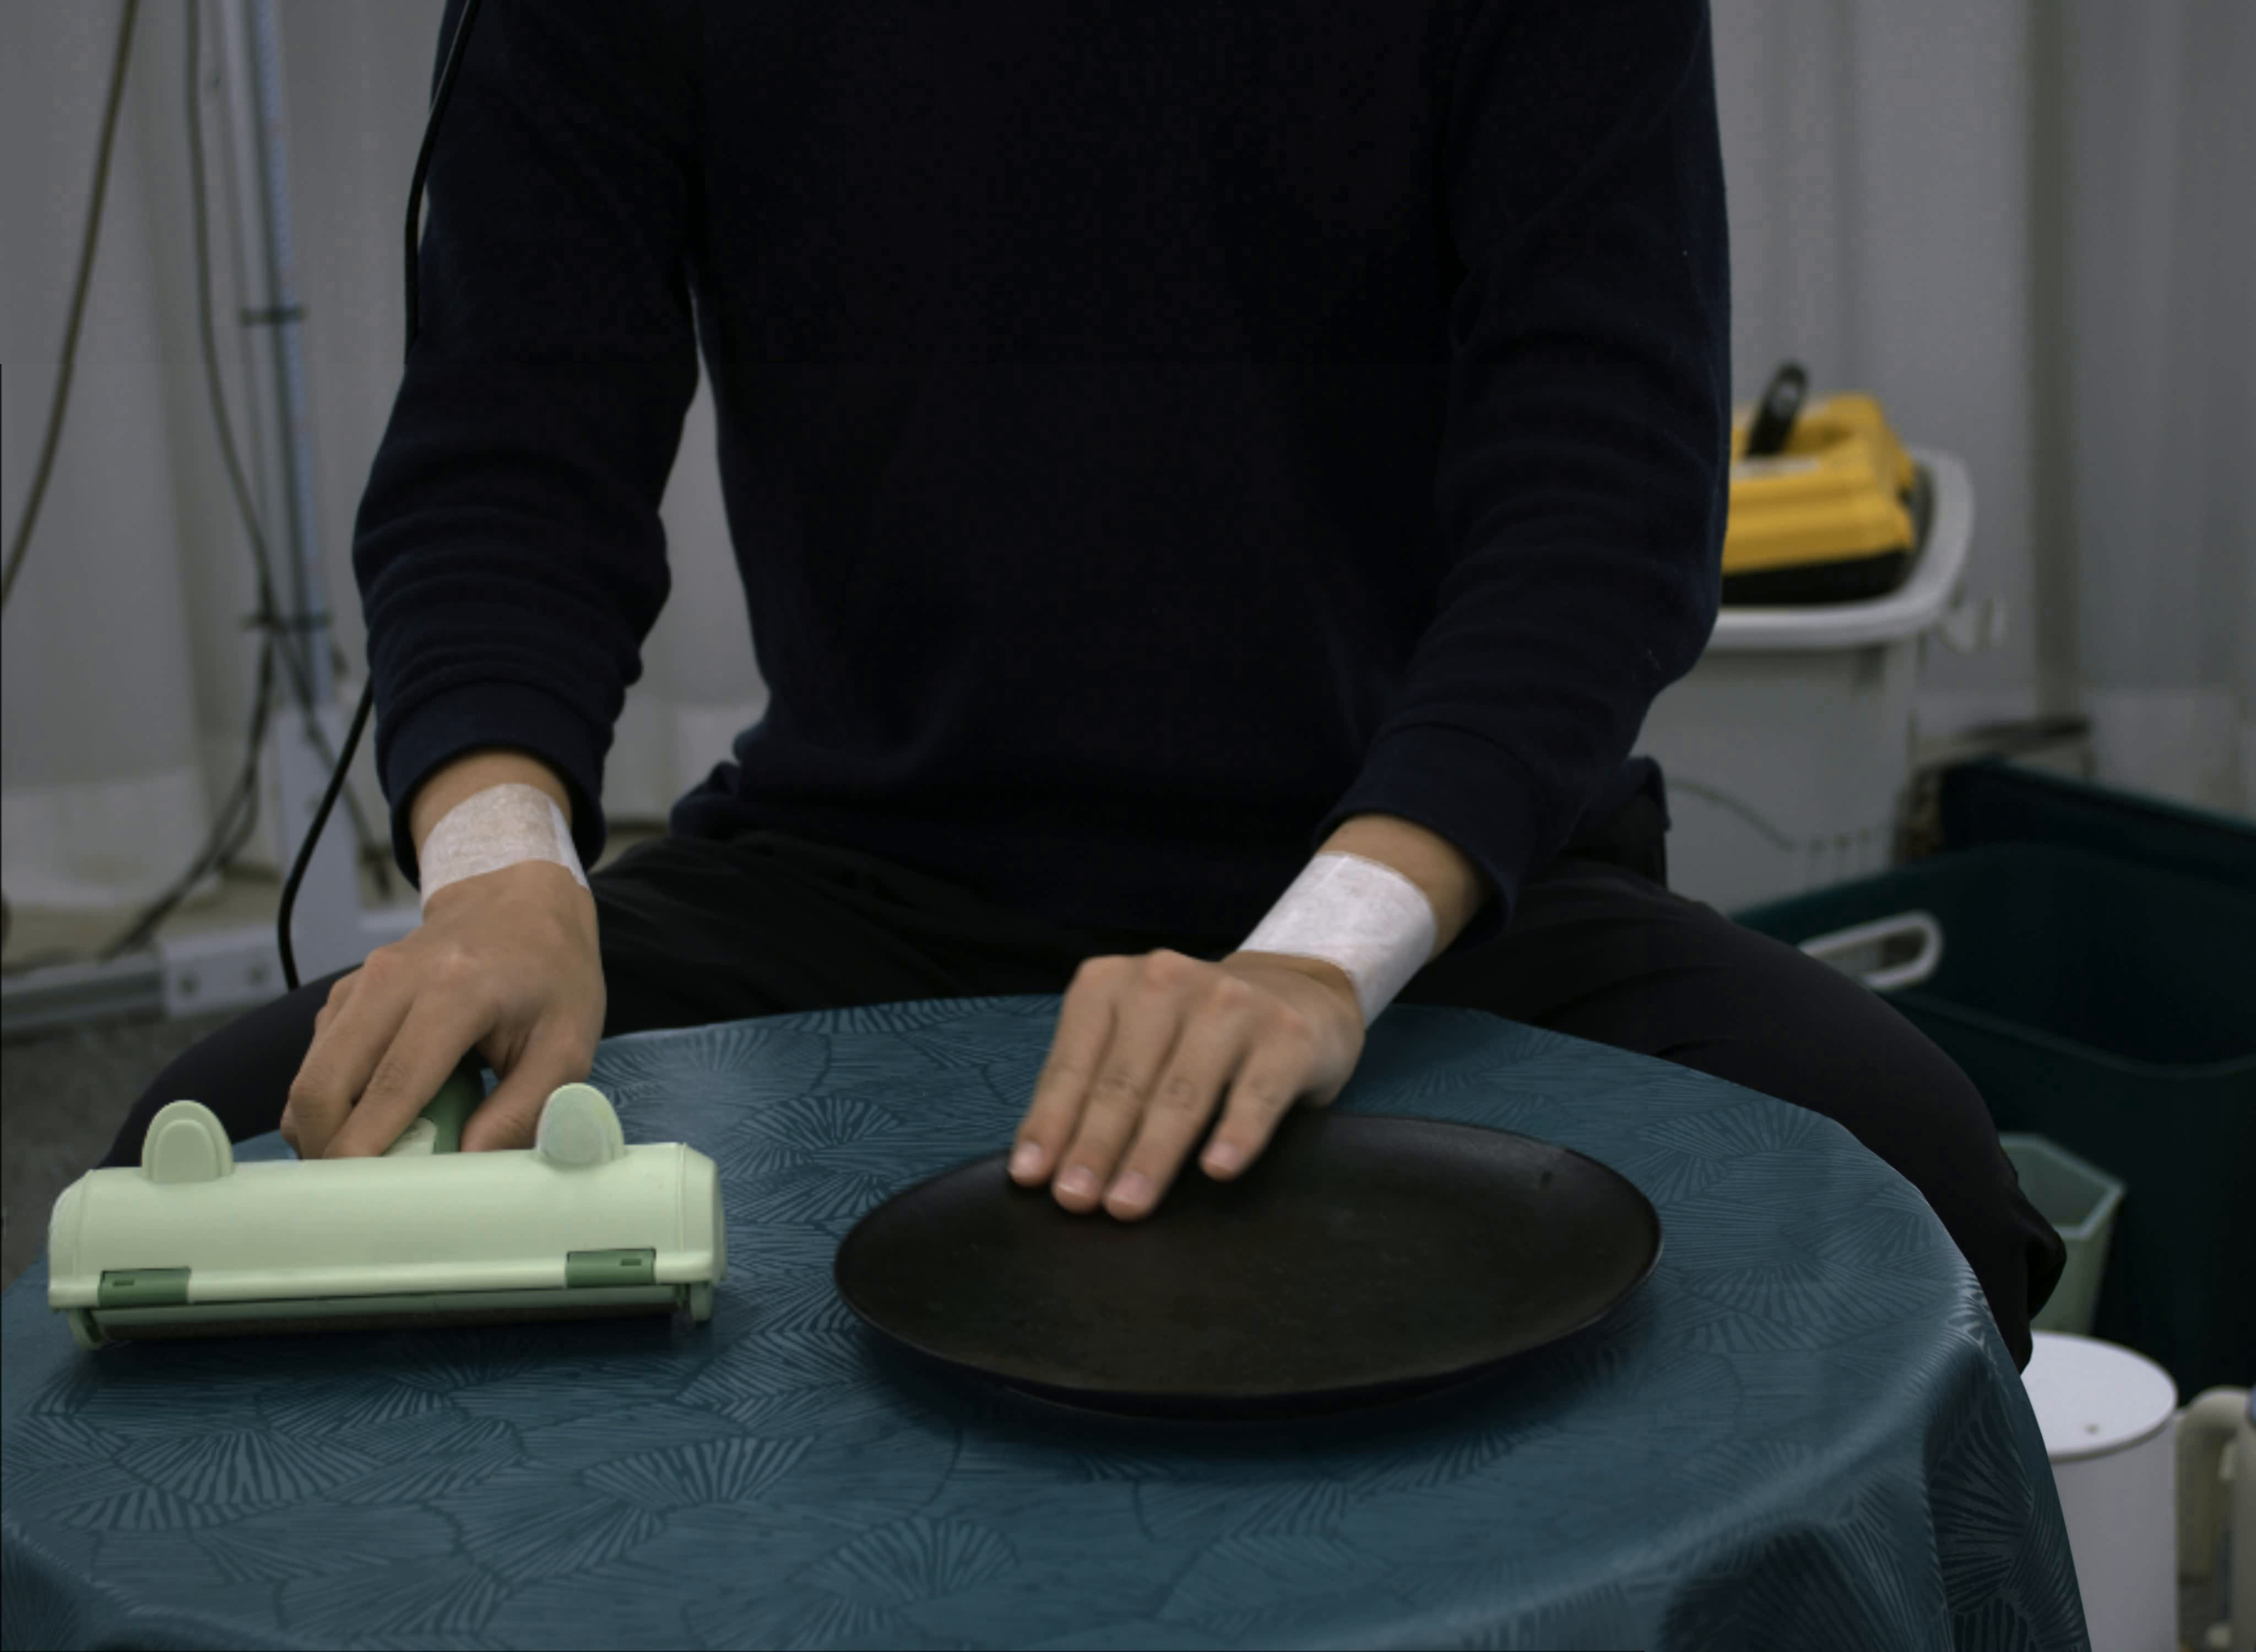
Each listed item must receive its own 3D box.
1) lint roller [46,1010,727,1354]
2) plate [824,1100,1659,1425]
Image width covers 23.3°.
[{"bbox_3d":[-0.221,0.087,1.662,0.198,0.081,0.186,-3,32,-1],"label":"lint roller"},{"bbox_3d":[0.034,0.130,1.599,0.243,0.023,0.246,-3,16,1],"label":"plate"}]
